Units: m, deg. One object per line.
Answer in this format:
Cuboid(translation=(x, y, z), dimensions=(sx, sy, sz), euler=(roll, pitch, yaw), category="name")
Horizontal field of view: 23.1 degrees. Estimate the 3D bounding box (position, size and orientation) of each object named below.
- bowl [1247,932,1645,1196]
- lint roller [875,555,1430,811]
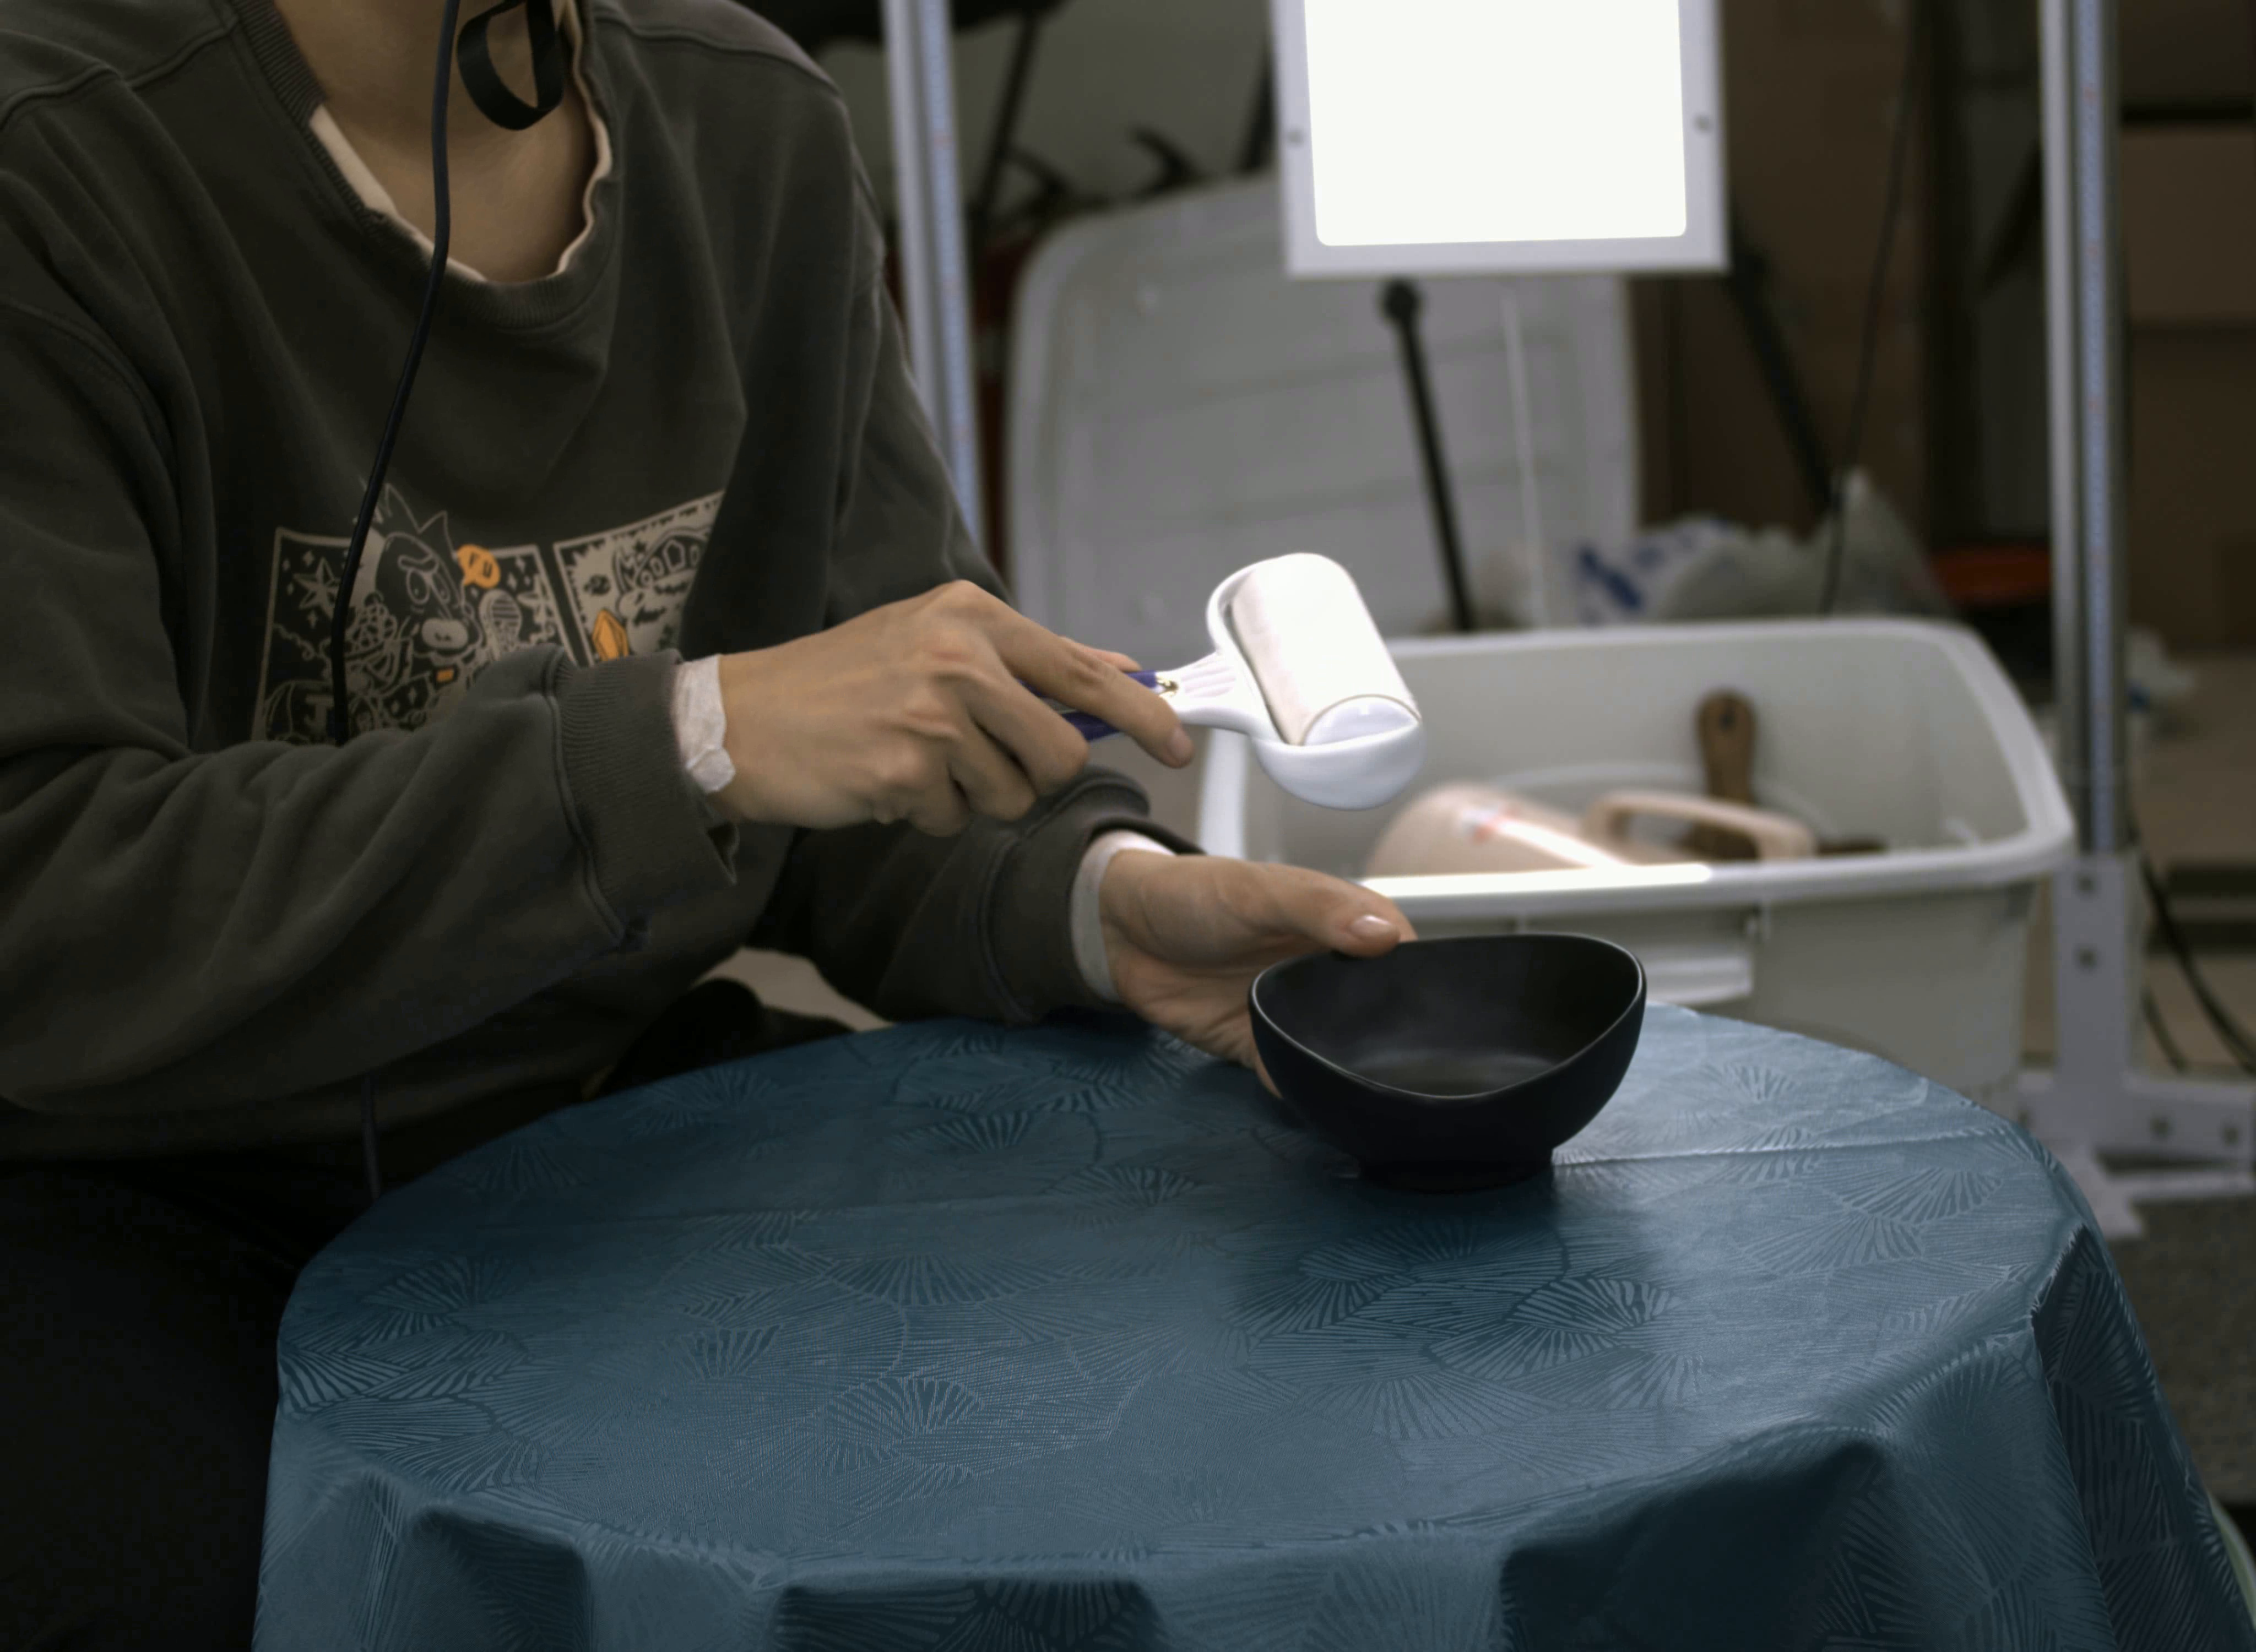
Cuboid(translation=(0.112, 0.085, 1.891), dimensions=(0.137, 0.067, 0.170), euler=(-6, 16, 0), category="bowl")
Cuboid(translation=(0.005, -0.050, 1.860), dimensions=(0.179, 0.050, 0.133), euler=(1, 31, -11), category="lint roller")
